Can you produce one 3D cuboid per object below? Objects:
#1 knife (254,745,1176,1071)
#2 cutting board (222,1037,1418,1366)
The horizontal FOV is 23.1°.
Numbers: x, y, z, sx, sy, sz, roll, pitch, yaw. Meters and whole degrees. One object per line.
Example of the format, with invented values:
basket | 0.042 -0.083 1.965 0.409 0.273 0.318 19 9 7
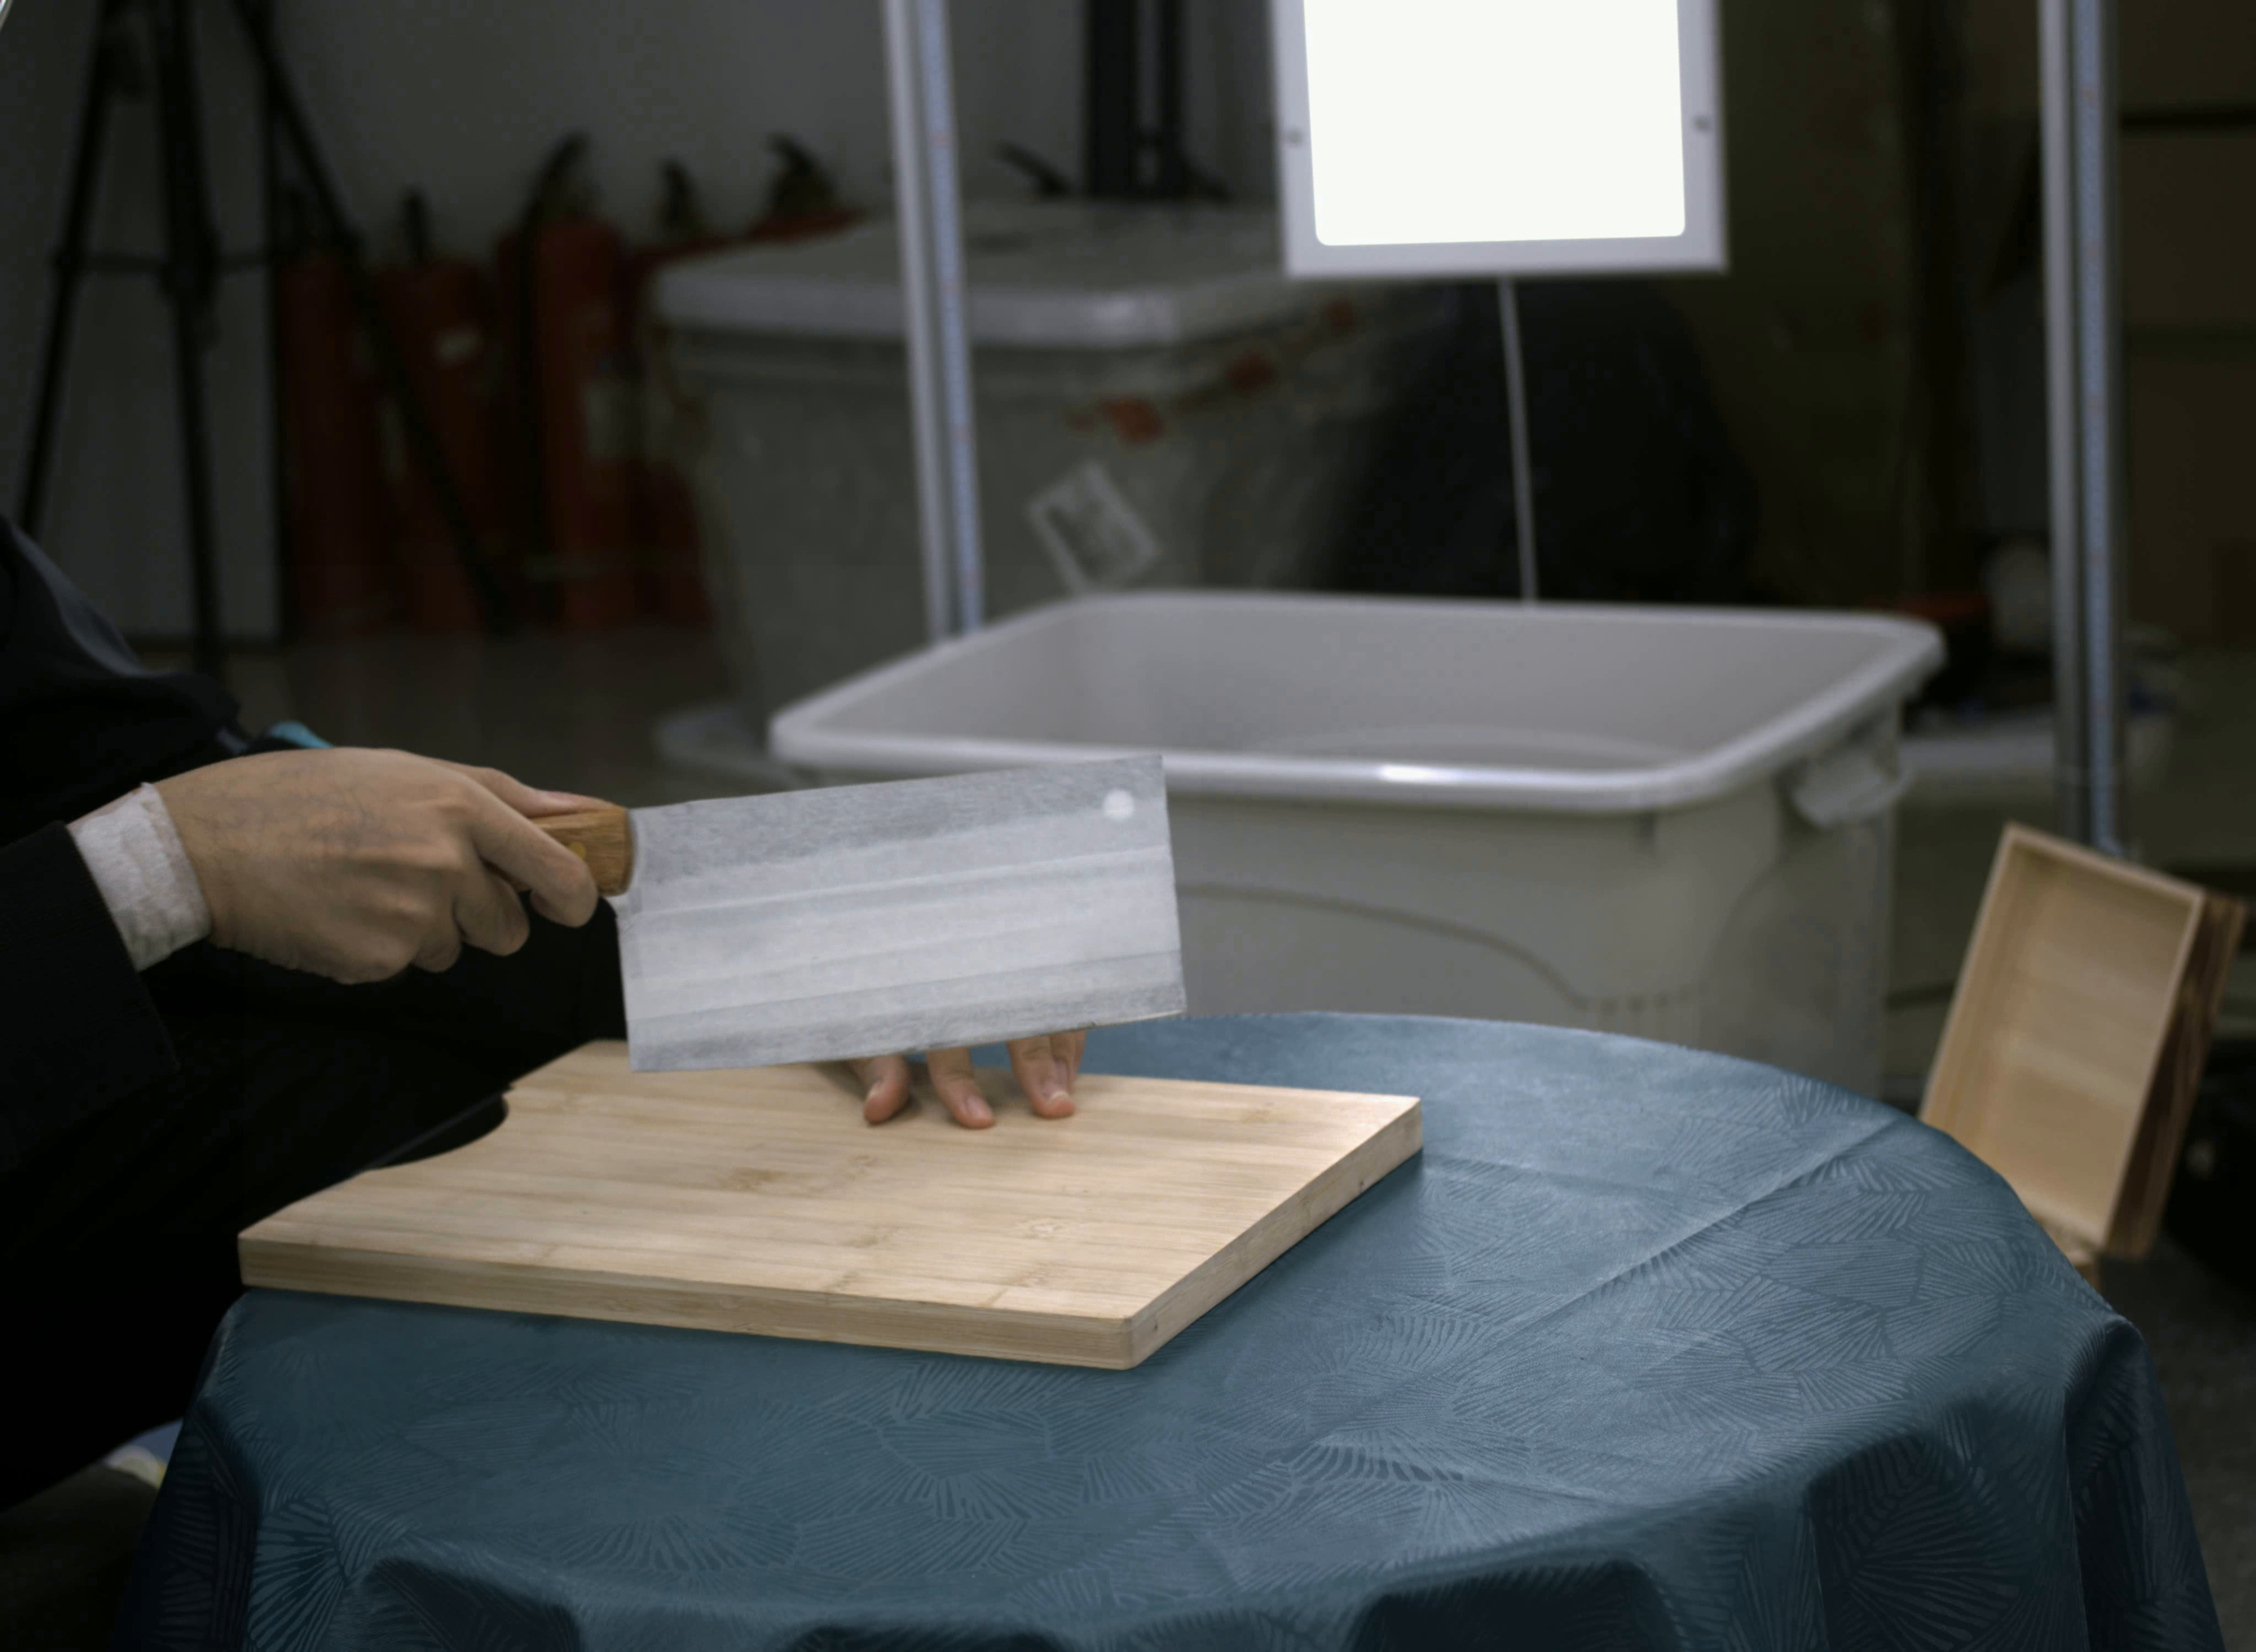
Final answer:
knife | -0.136 0.033 1.844 0.304 0.093 0.021 -6 5 -3
cutting board | -0.104 0.125 1.903 0.354 0.023 0.245 2 16 27
